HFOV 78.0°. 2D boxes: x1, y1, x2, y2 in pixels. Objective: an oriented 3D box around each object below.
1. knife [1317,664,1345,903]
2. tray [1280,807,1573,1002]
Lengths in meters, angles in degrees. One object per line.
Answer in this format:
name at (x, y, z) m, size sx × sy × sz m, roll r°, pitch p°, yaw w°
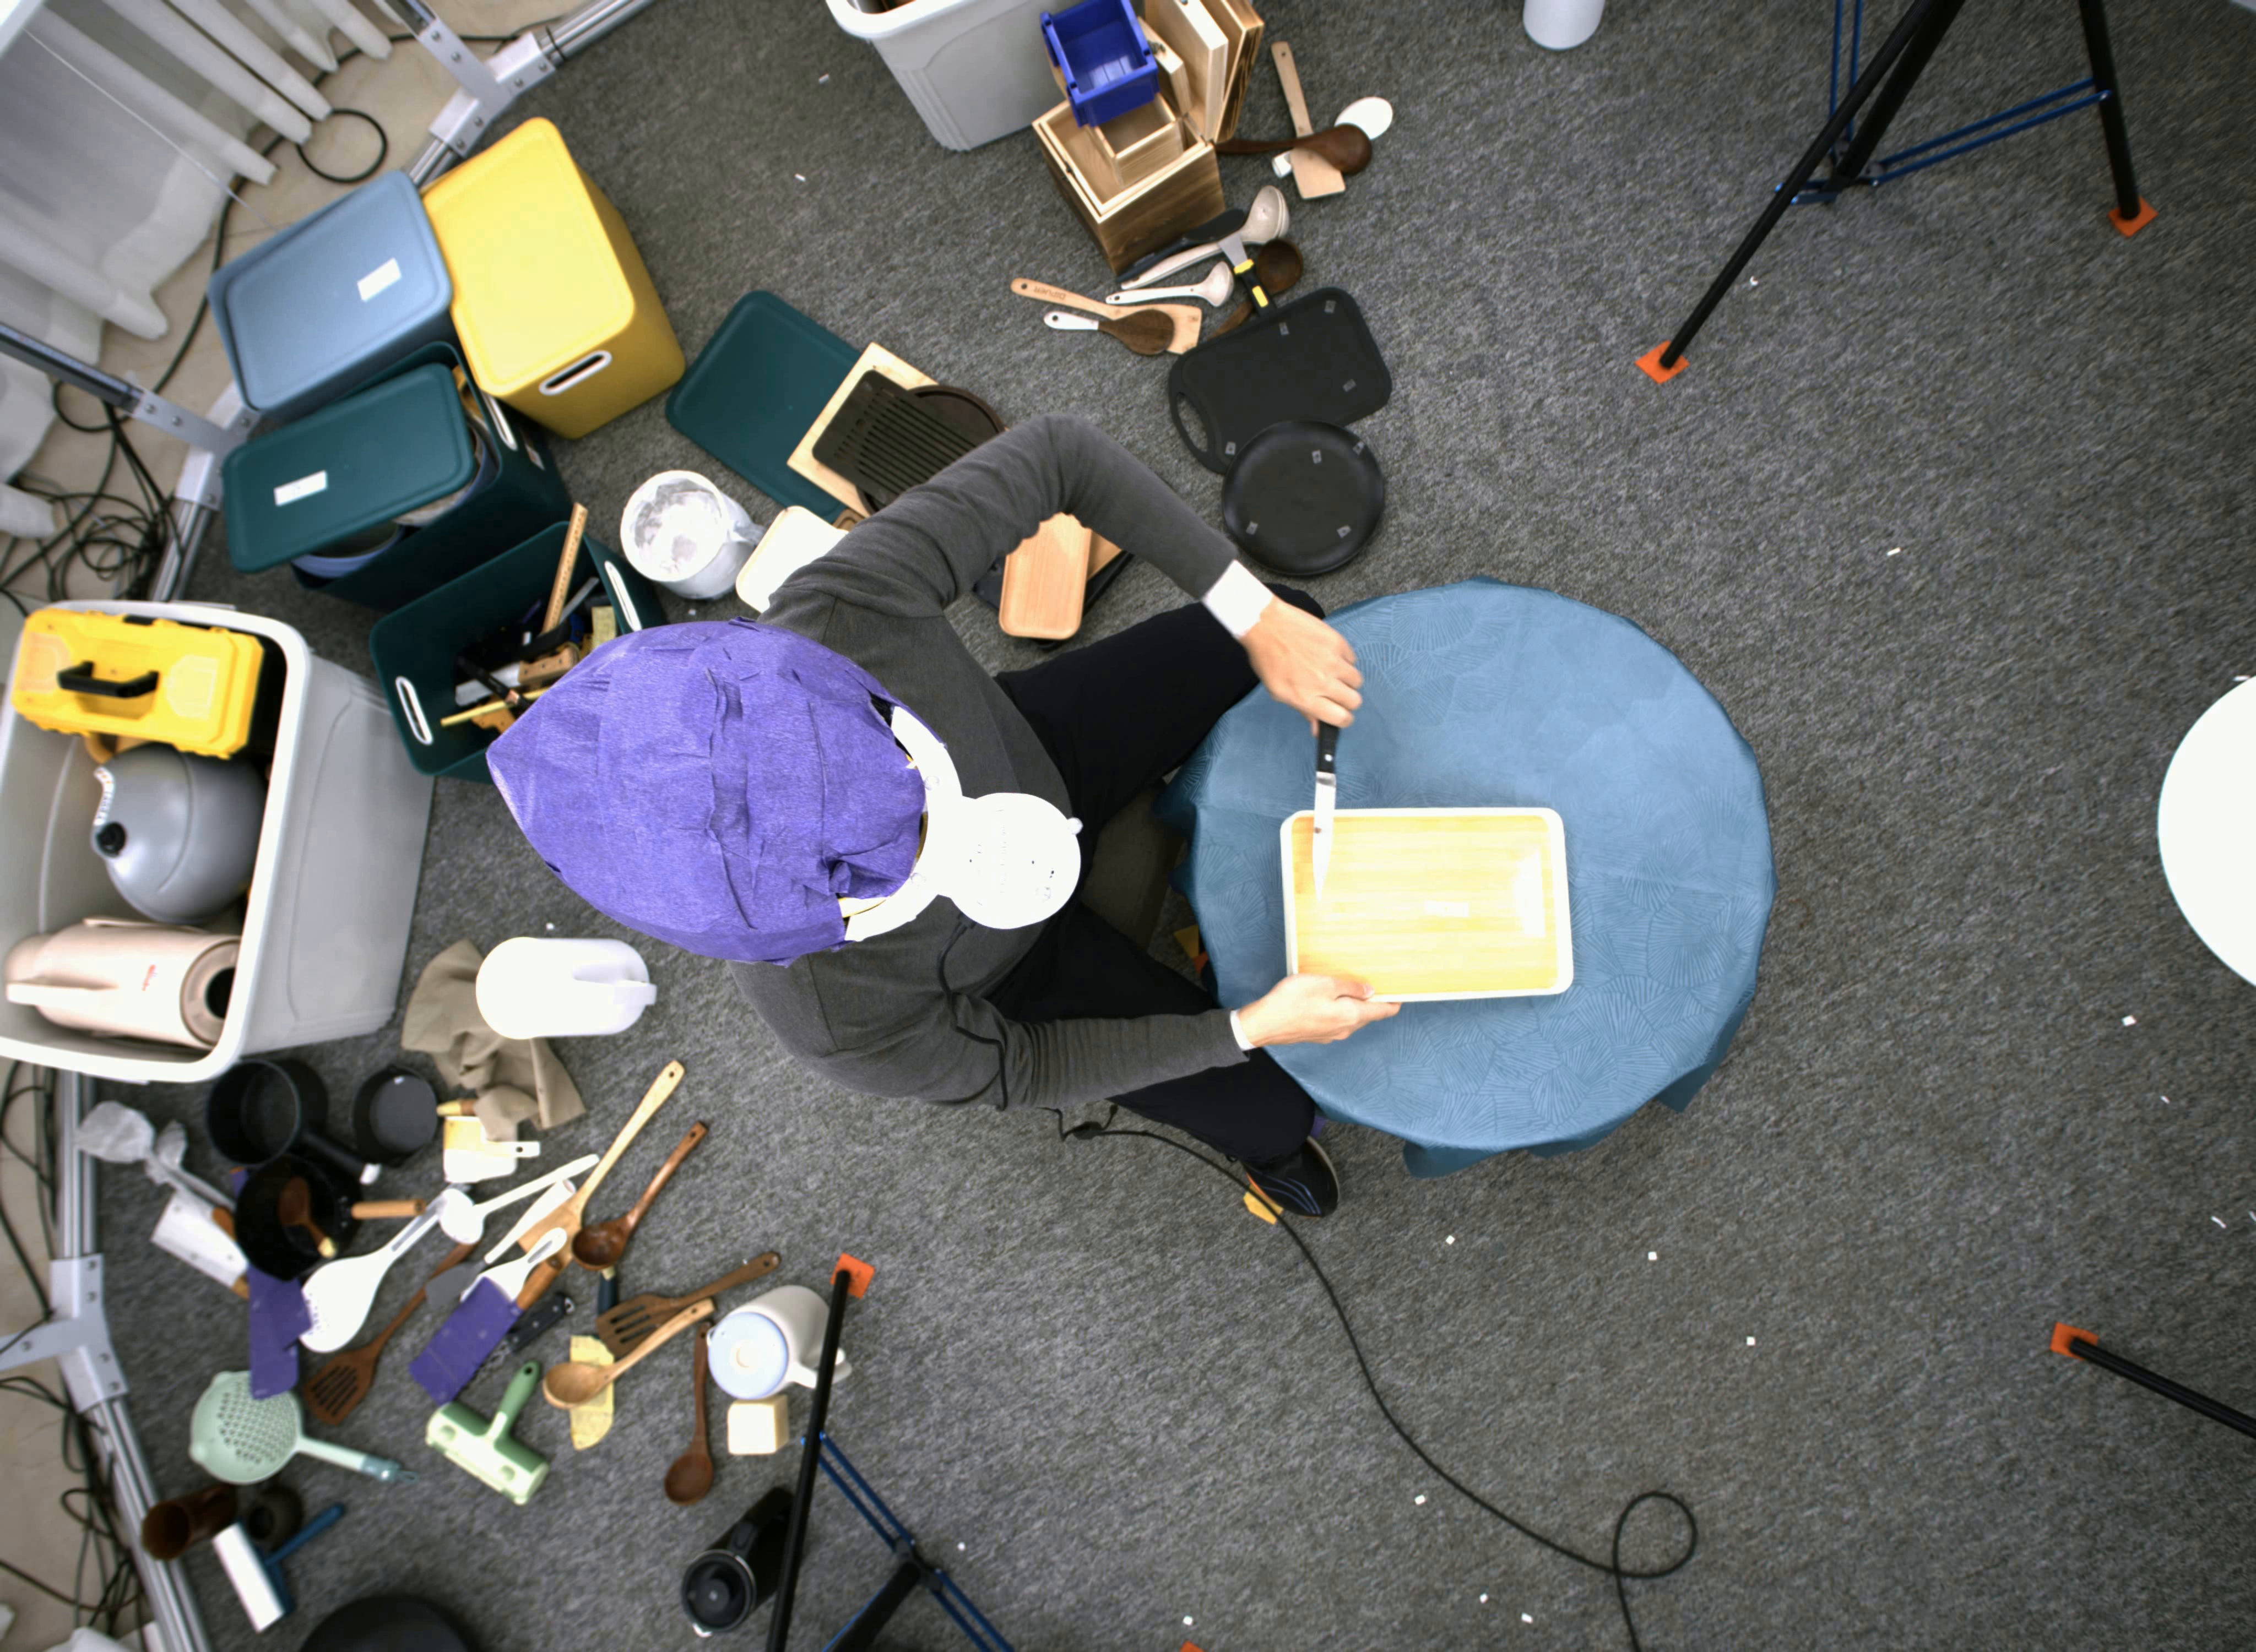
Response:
knife at (0.197, -0.044, 1.348) m, size 0.024 × 0.016 × 0.236 m, roll 6°, pitch 84°, yaw -17°
tray at (0.302, 0.076, 1.387) m, size 0.300 × 0.027 × 0.190 m, roll -1°, pitch 85°, yaw -11°
